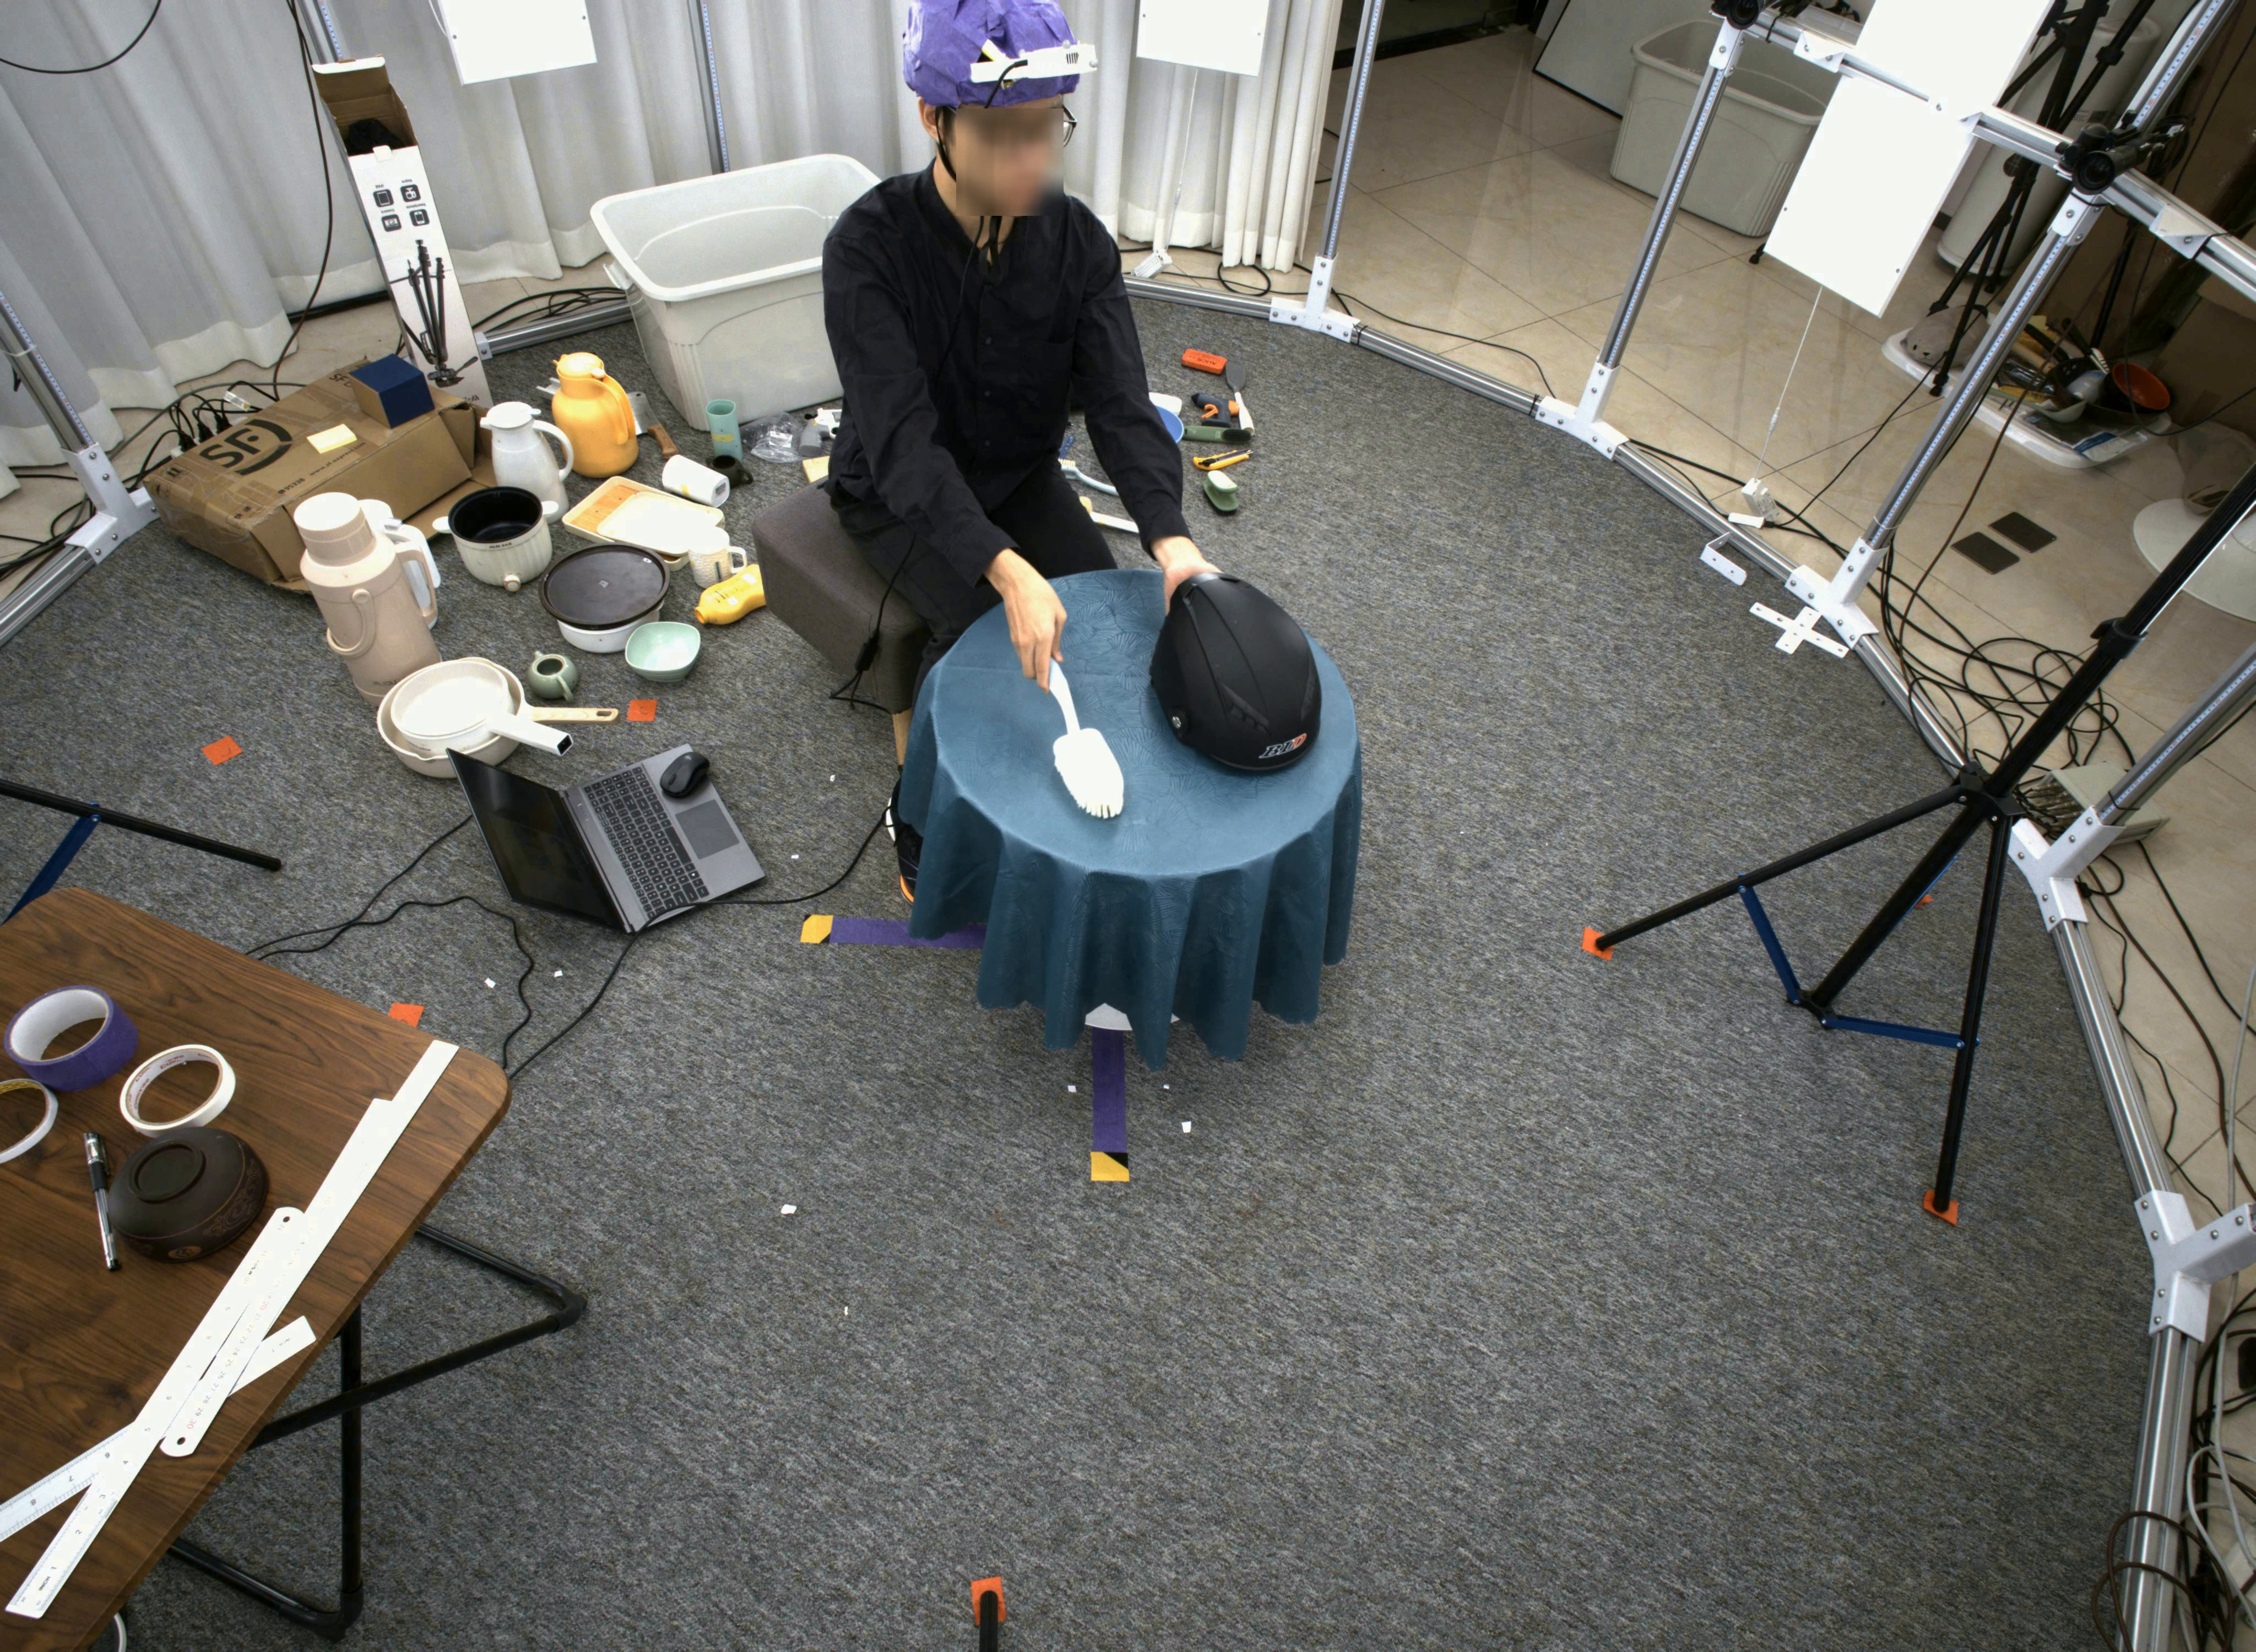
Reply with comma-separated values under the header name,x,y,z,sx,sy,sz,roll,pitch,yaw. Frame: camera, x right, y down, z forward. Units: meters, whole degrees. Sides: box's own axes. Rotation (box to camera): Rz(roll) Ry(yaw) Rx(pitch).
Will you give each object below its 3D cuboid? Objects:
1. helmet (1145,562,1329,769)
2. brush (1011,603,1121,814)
name,x,y,z,sx,sy,sz,roll,pitch,yaw
helmet,0.156,-0.228,1.767,0.247,0.168,0.282,-19,61,-19
brush,-0.087,-0.156,1.737,0.082,0.083,0.331,2,55,-50
